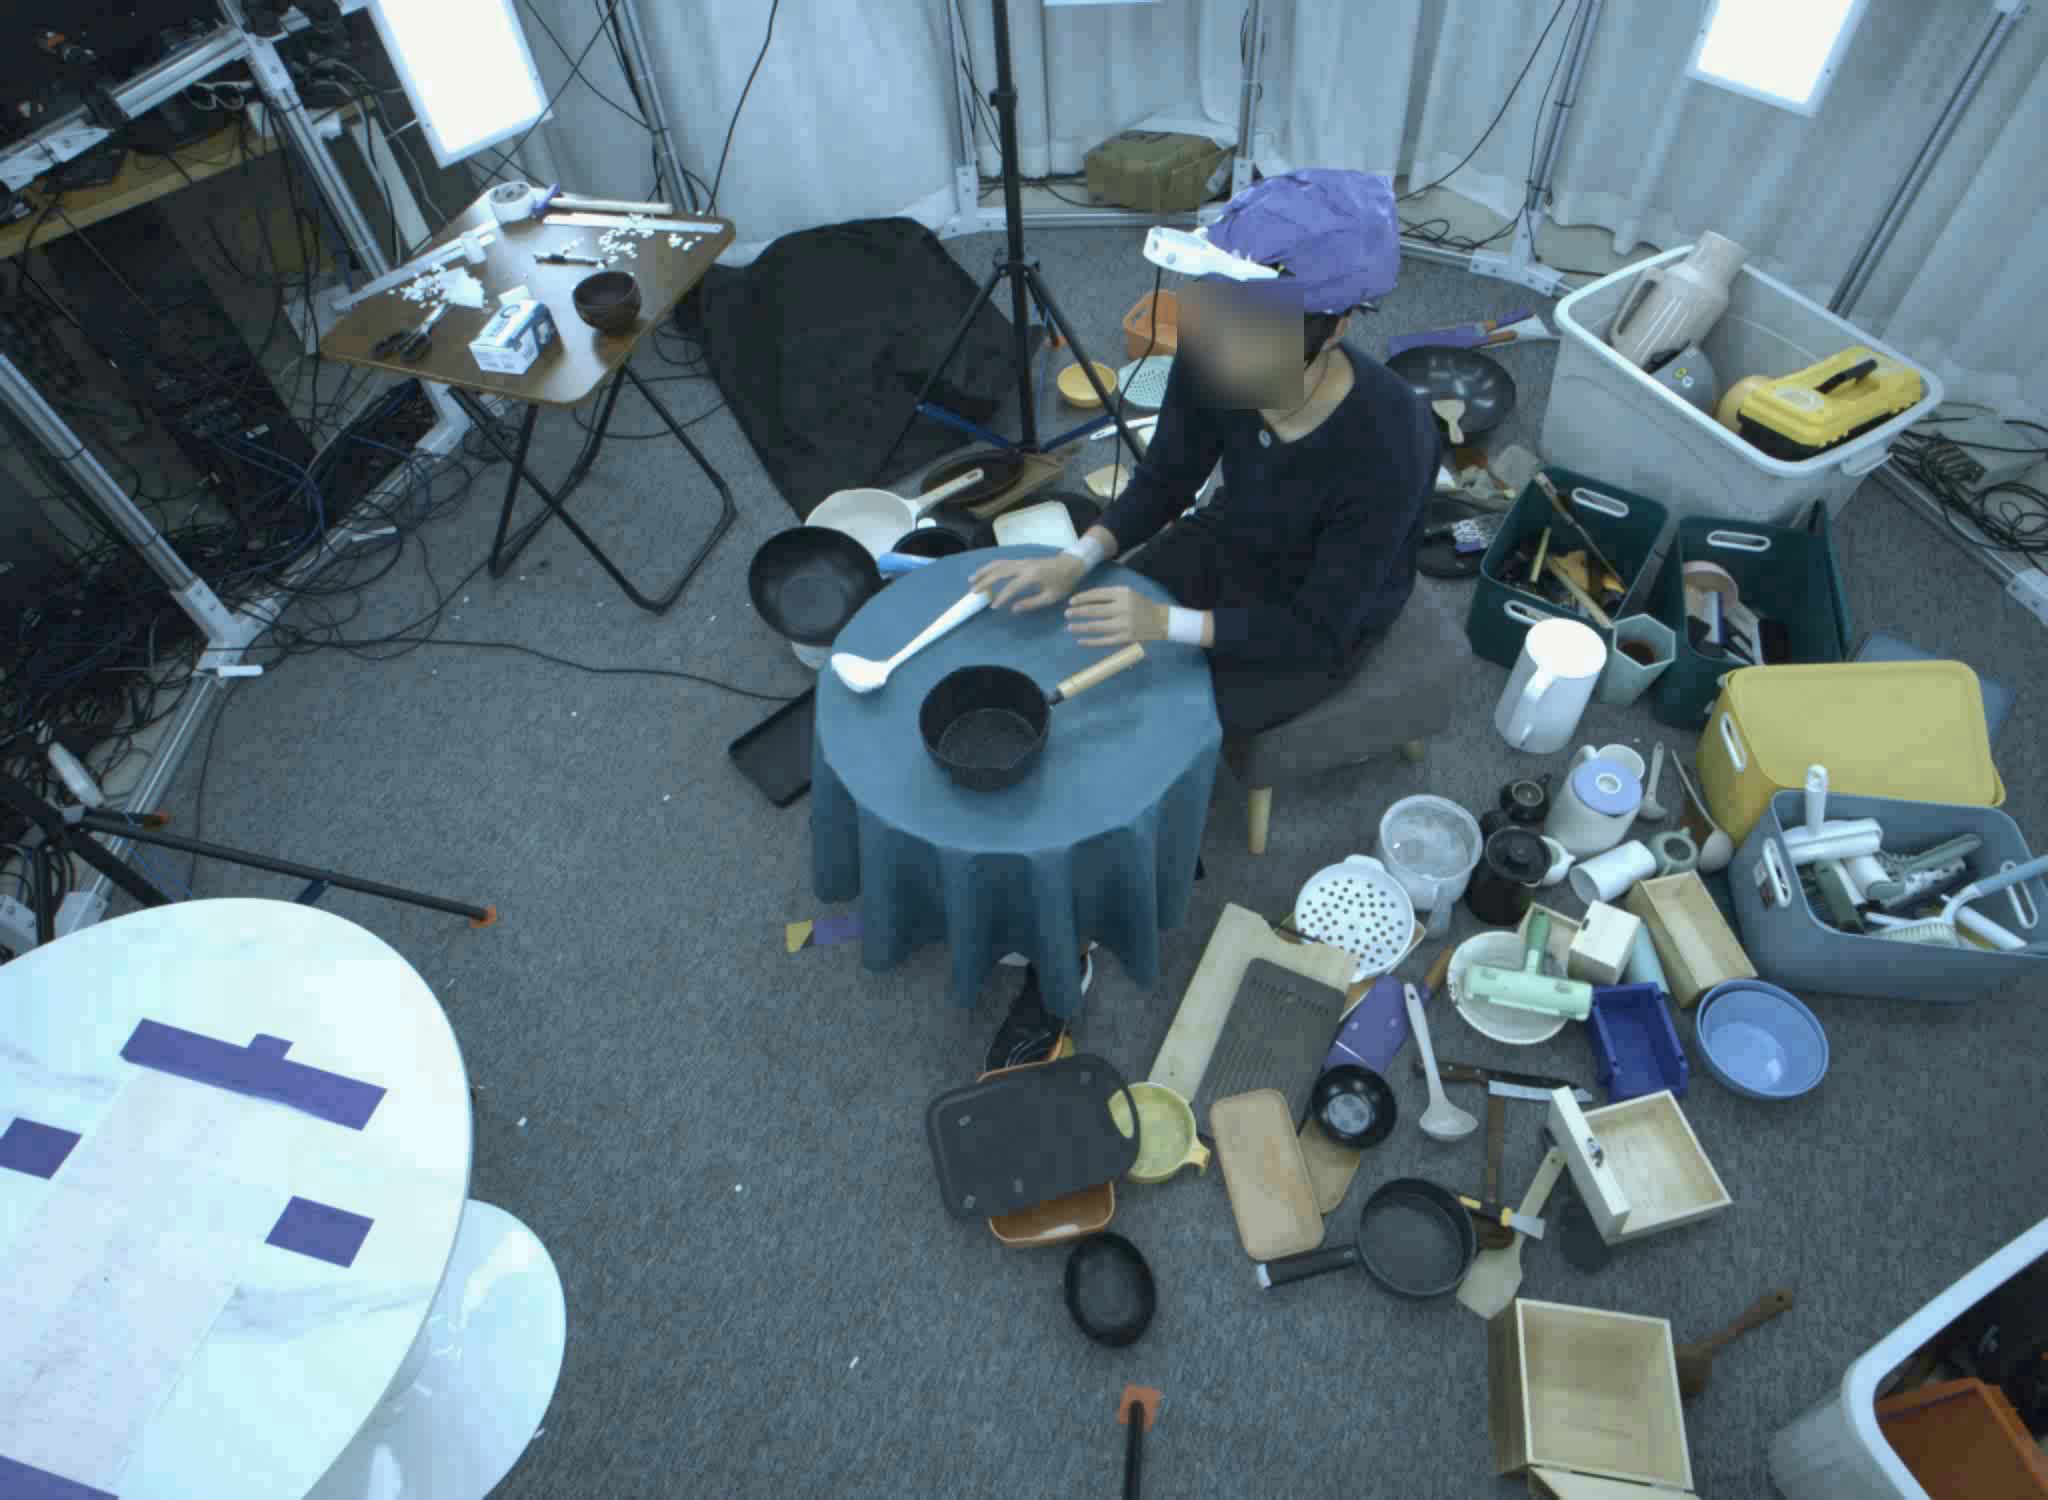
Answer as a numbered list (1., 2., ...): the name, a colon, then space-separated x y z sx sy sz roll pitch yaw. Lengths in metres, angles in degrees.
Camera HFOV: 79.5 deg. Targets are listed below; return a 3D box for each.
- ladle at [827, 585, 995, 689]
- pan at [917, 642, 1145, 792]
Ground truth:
1. ladle: -0.168 -0.183 1.884 0.295 0.071 0.088 -36 54 -22
2. pan: 0.016 -0.061 1.763 0.345 0.109 0.203 -23 56 -12
